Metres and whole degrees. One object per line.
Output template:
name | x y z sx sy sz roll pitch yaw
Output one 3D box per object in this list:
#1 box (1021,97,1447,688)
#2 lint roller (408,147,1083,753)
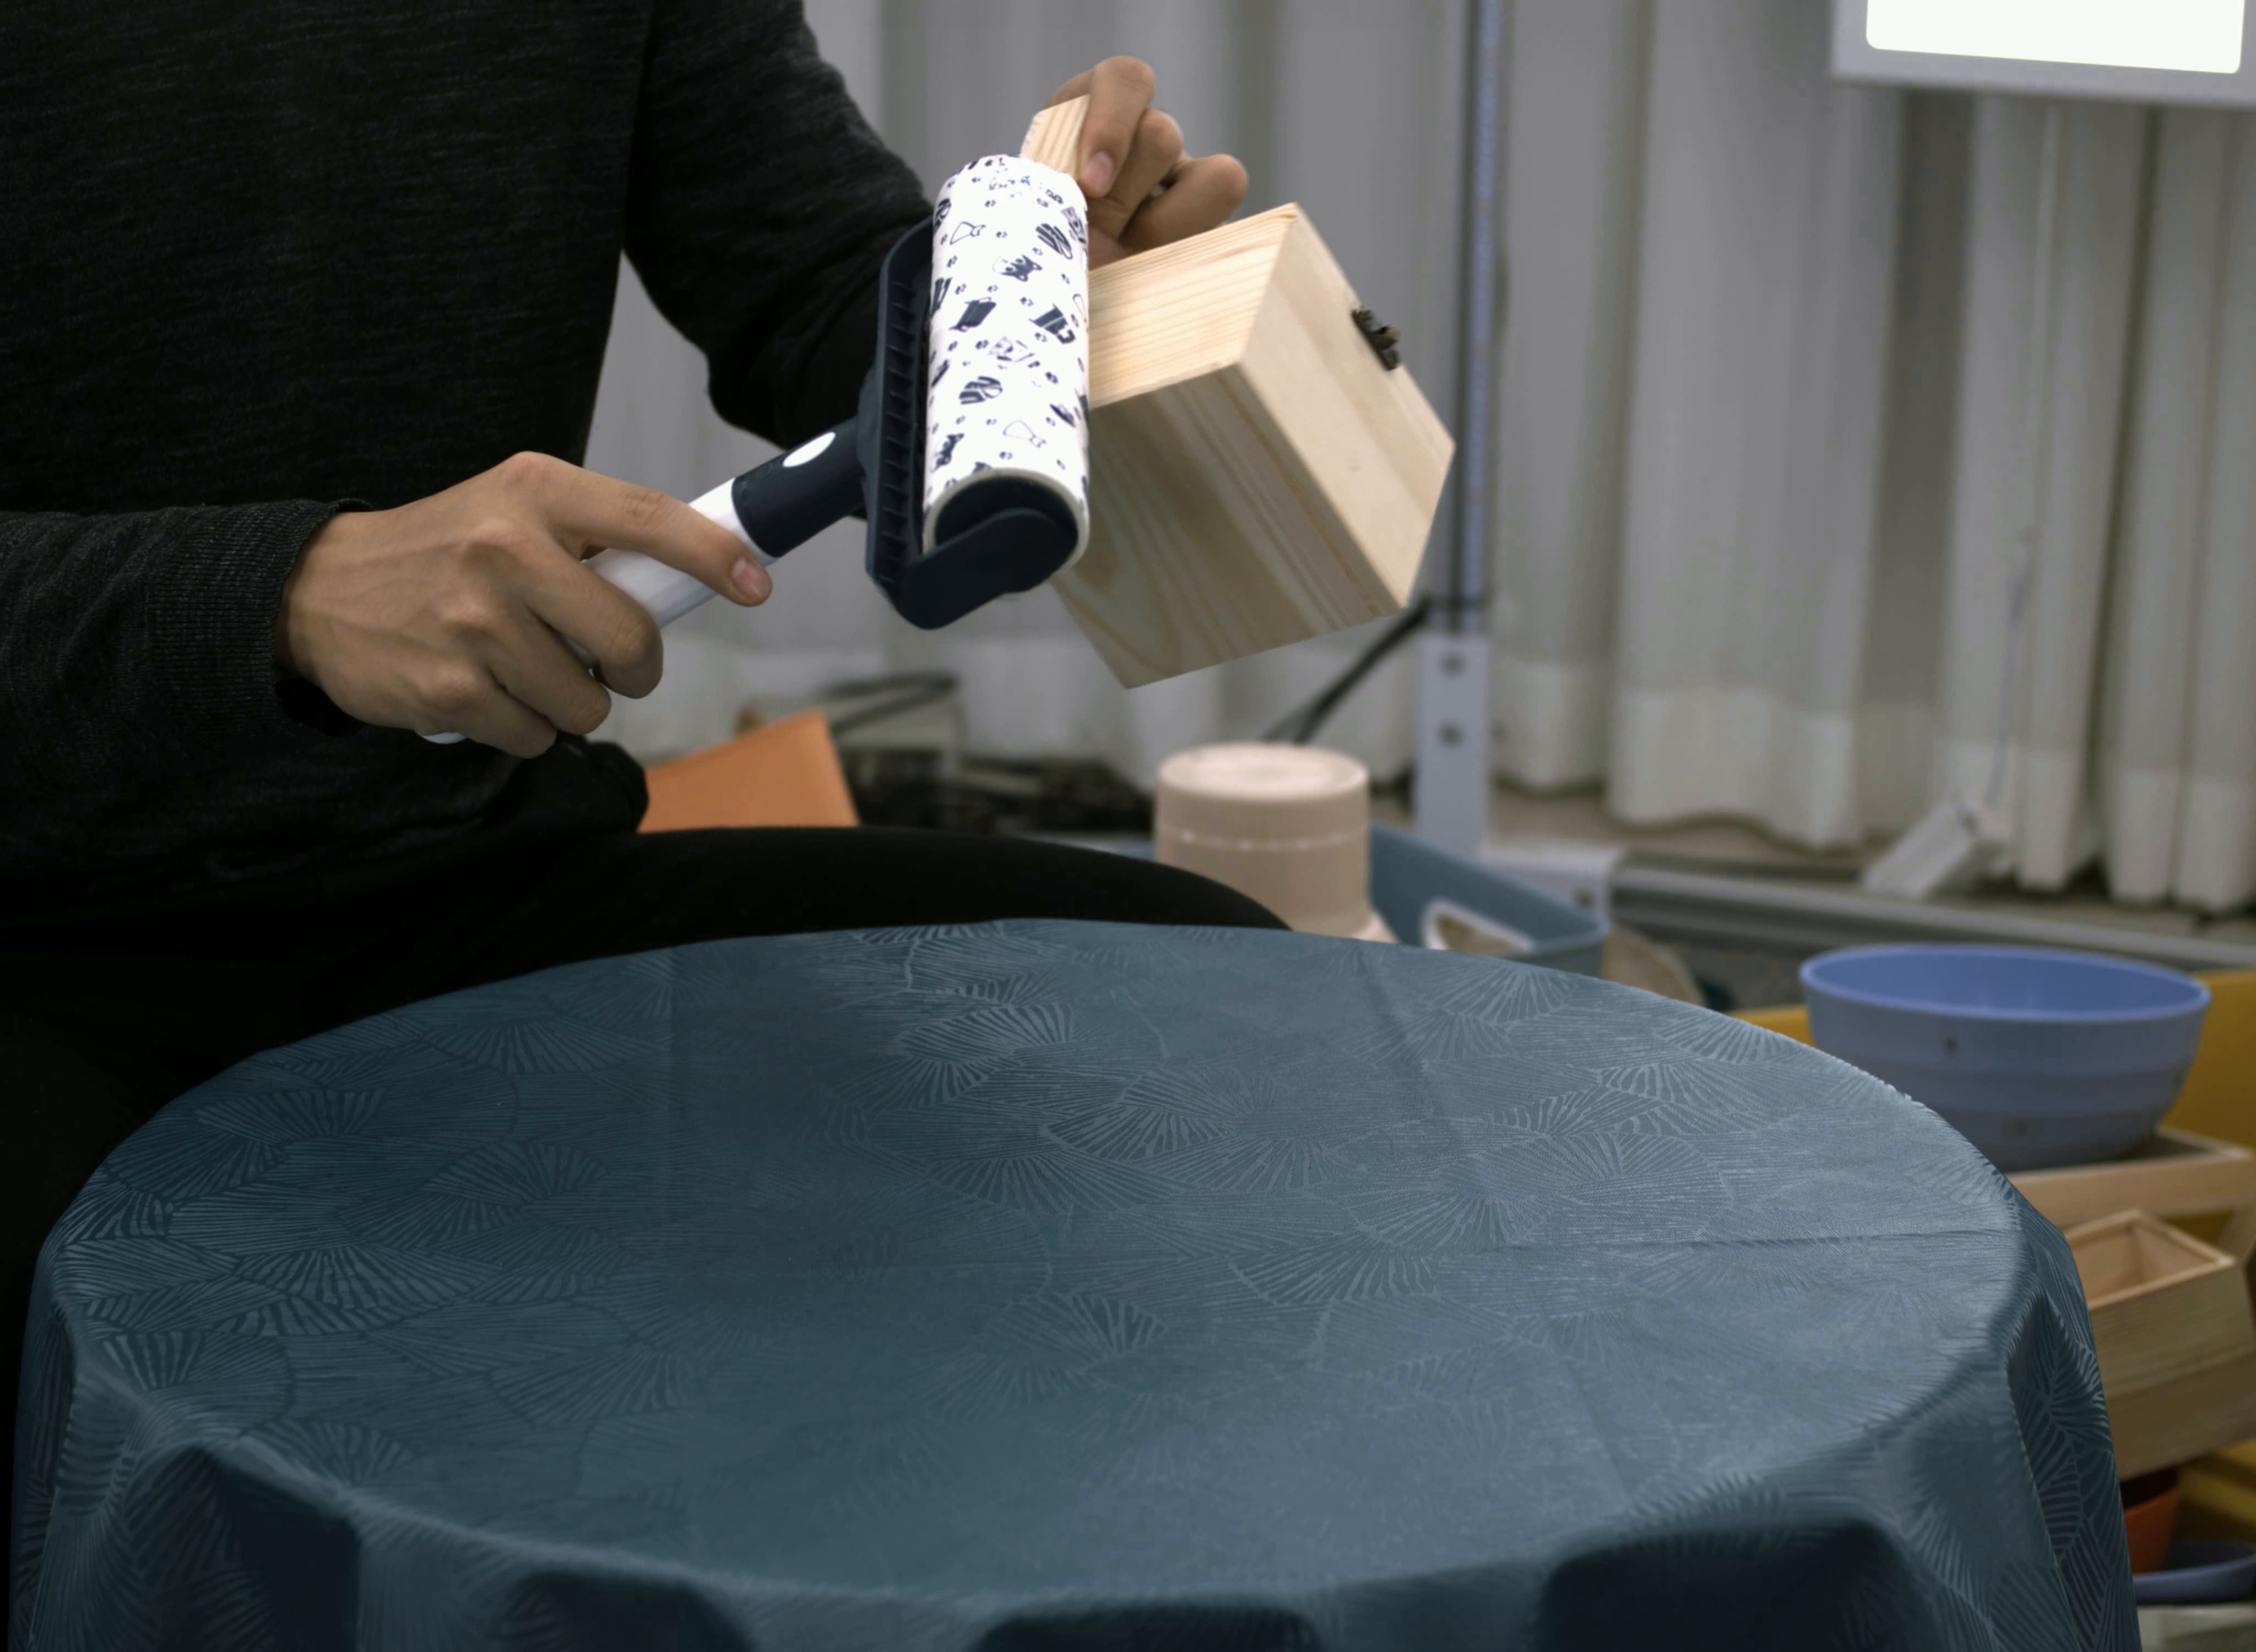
box | 0.027 -0.147 1.618 0.133 0.104 0.183 -15 36 30
lint roller | -0.118 -0.090 1.552 0.246 0.051 0.174 -27 36 20
